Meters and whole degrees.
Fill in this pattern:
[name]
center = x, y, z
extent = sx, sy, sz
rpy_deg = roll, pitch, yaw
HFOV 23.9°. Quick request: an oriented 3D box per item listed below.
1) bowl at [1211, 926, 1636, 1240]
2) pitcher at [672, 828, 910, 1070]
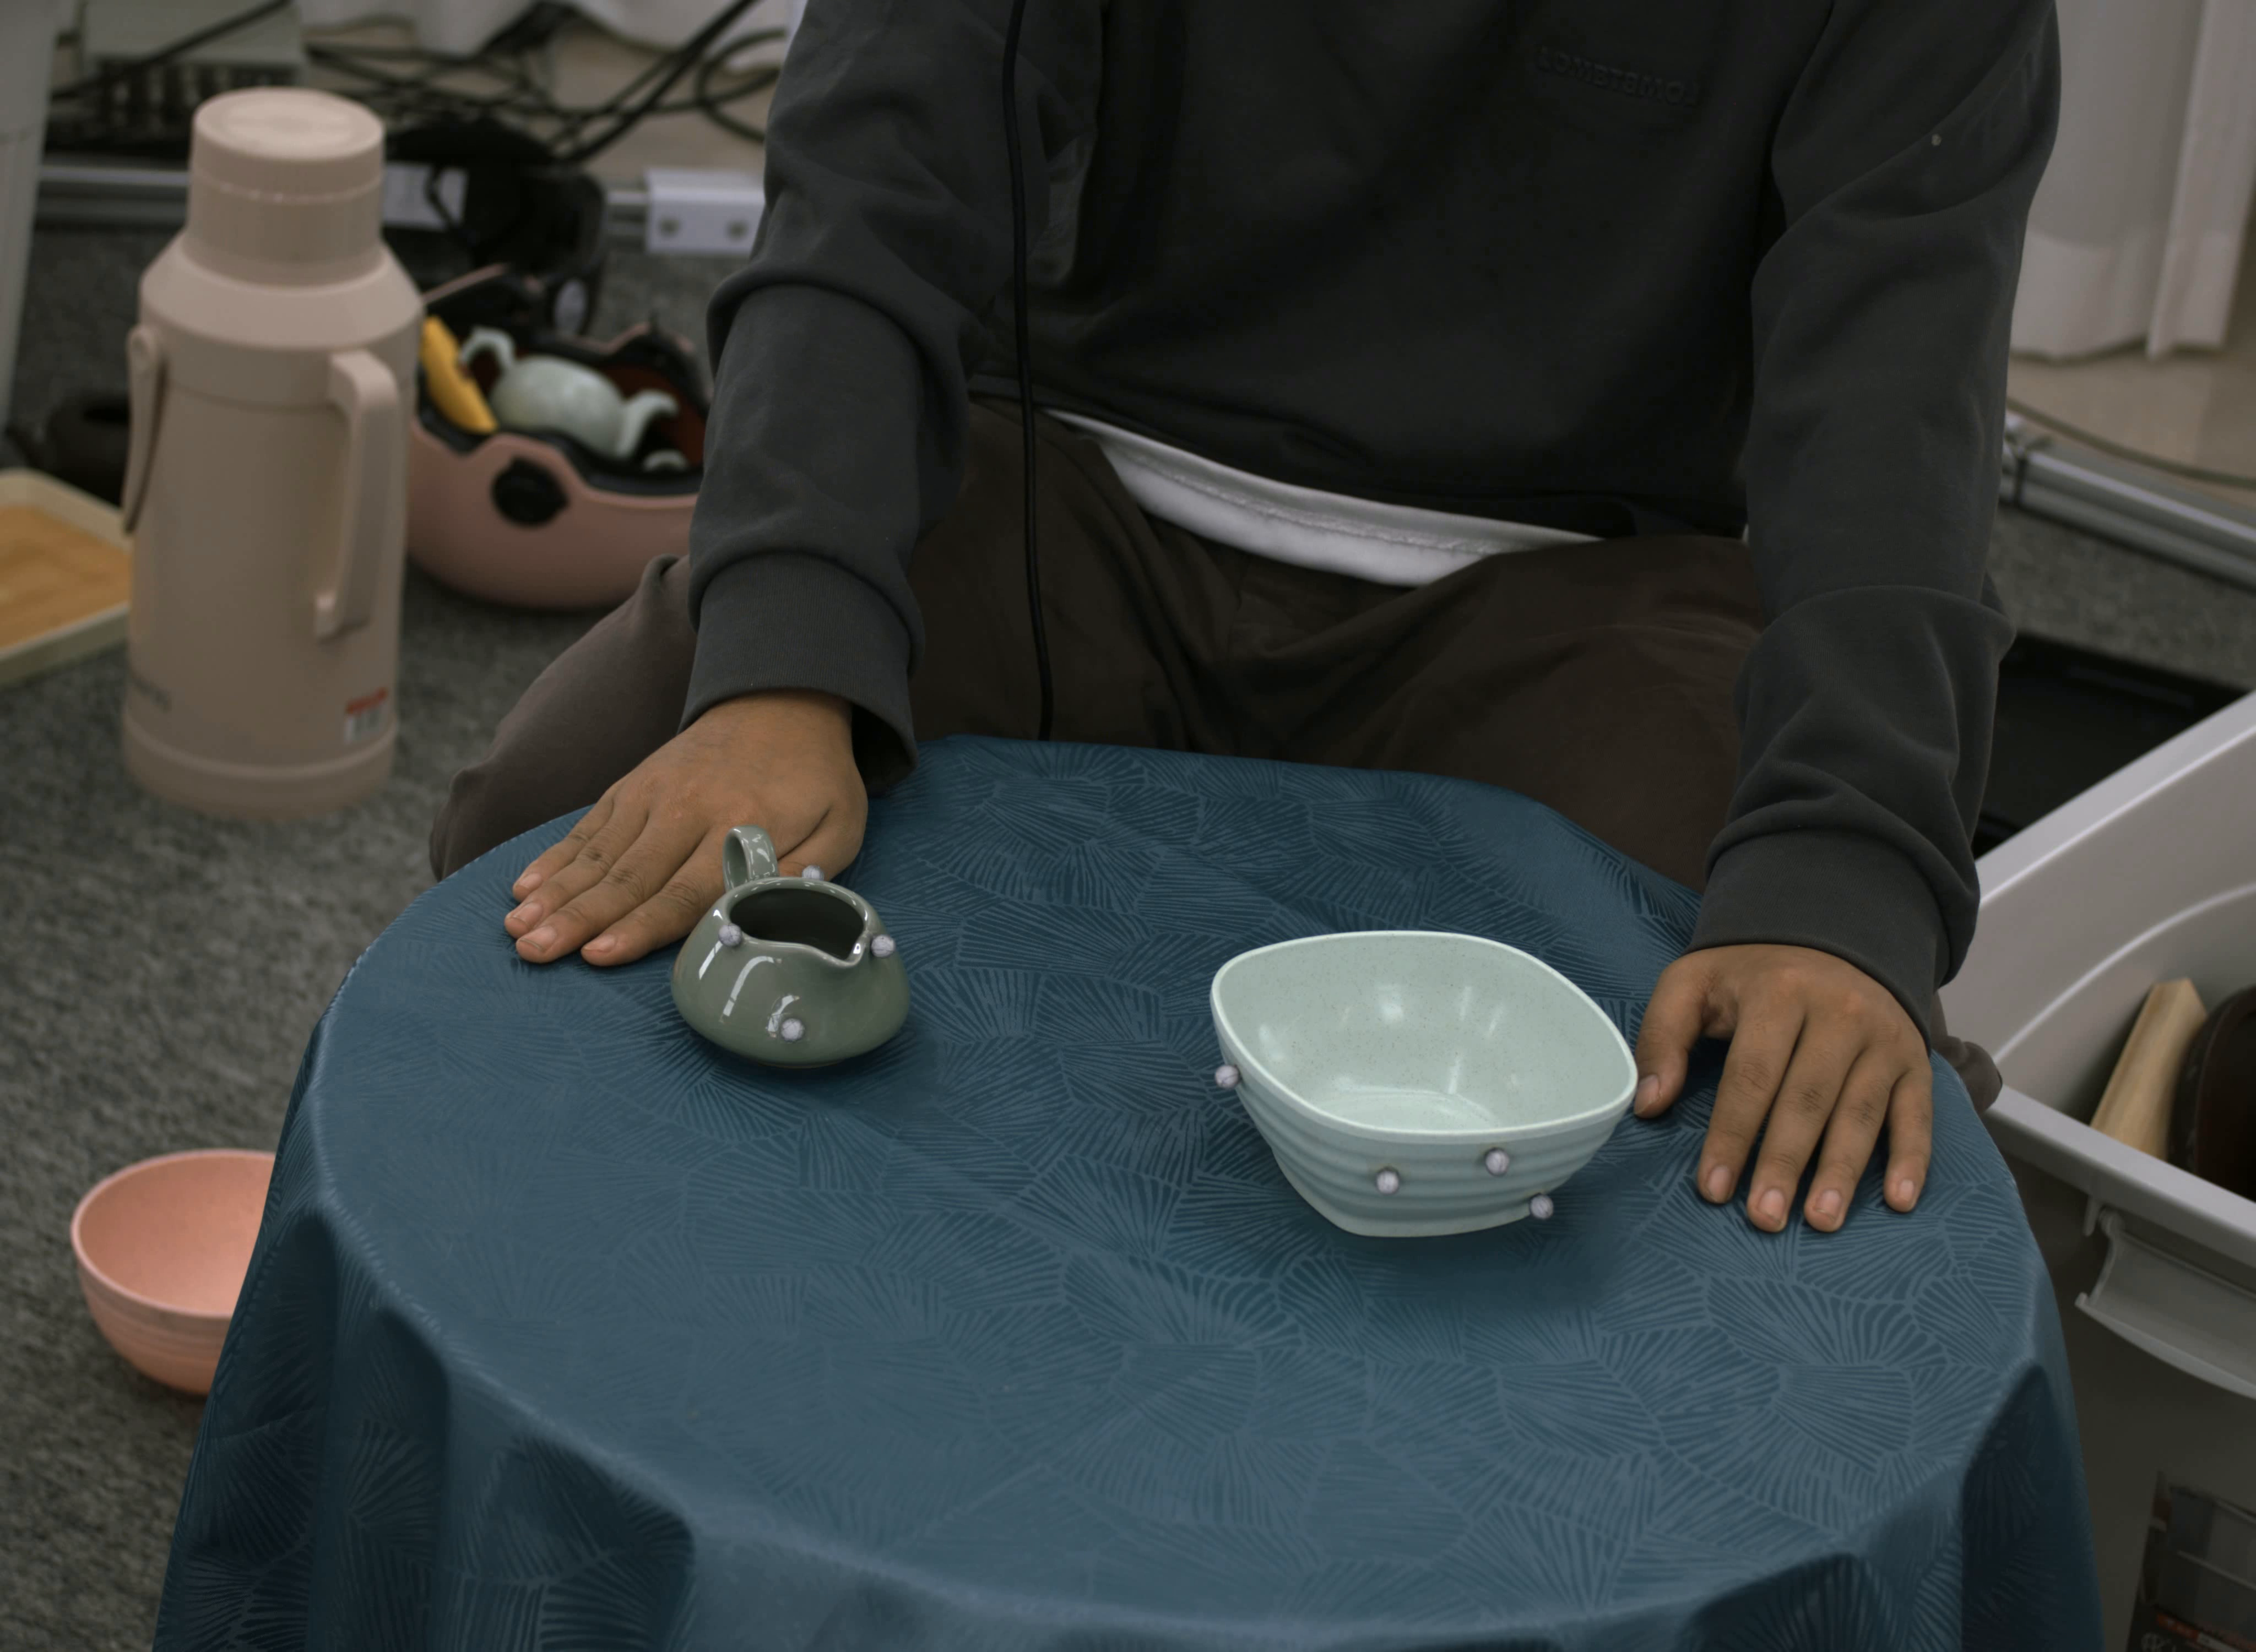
[bowl]
center = 0.098, 0.094, 1.827
extent = 0.151, 0.058, 0.152
rpy_deg = 5, 28, -3
[pitcher]
center = -0.120, 0.046, 1.872
extent = 0.083, 0.056, 0.113
rpy_deg = -6, 29, -25
